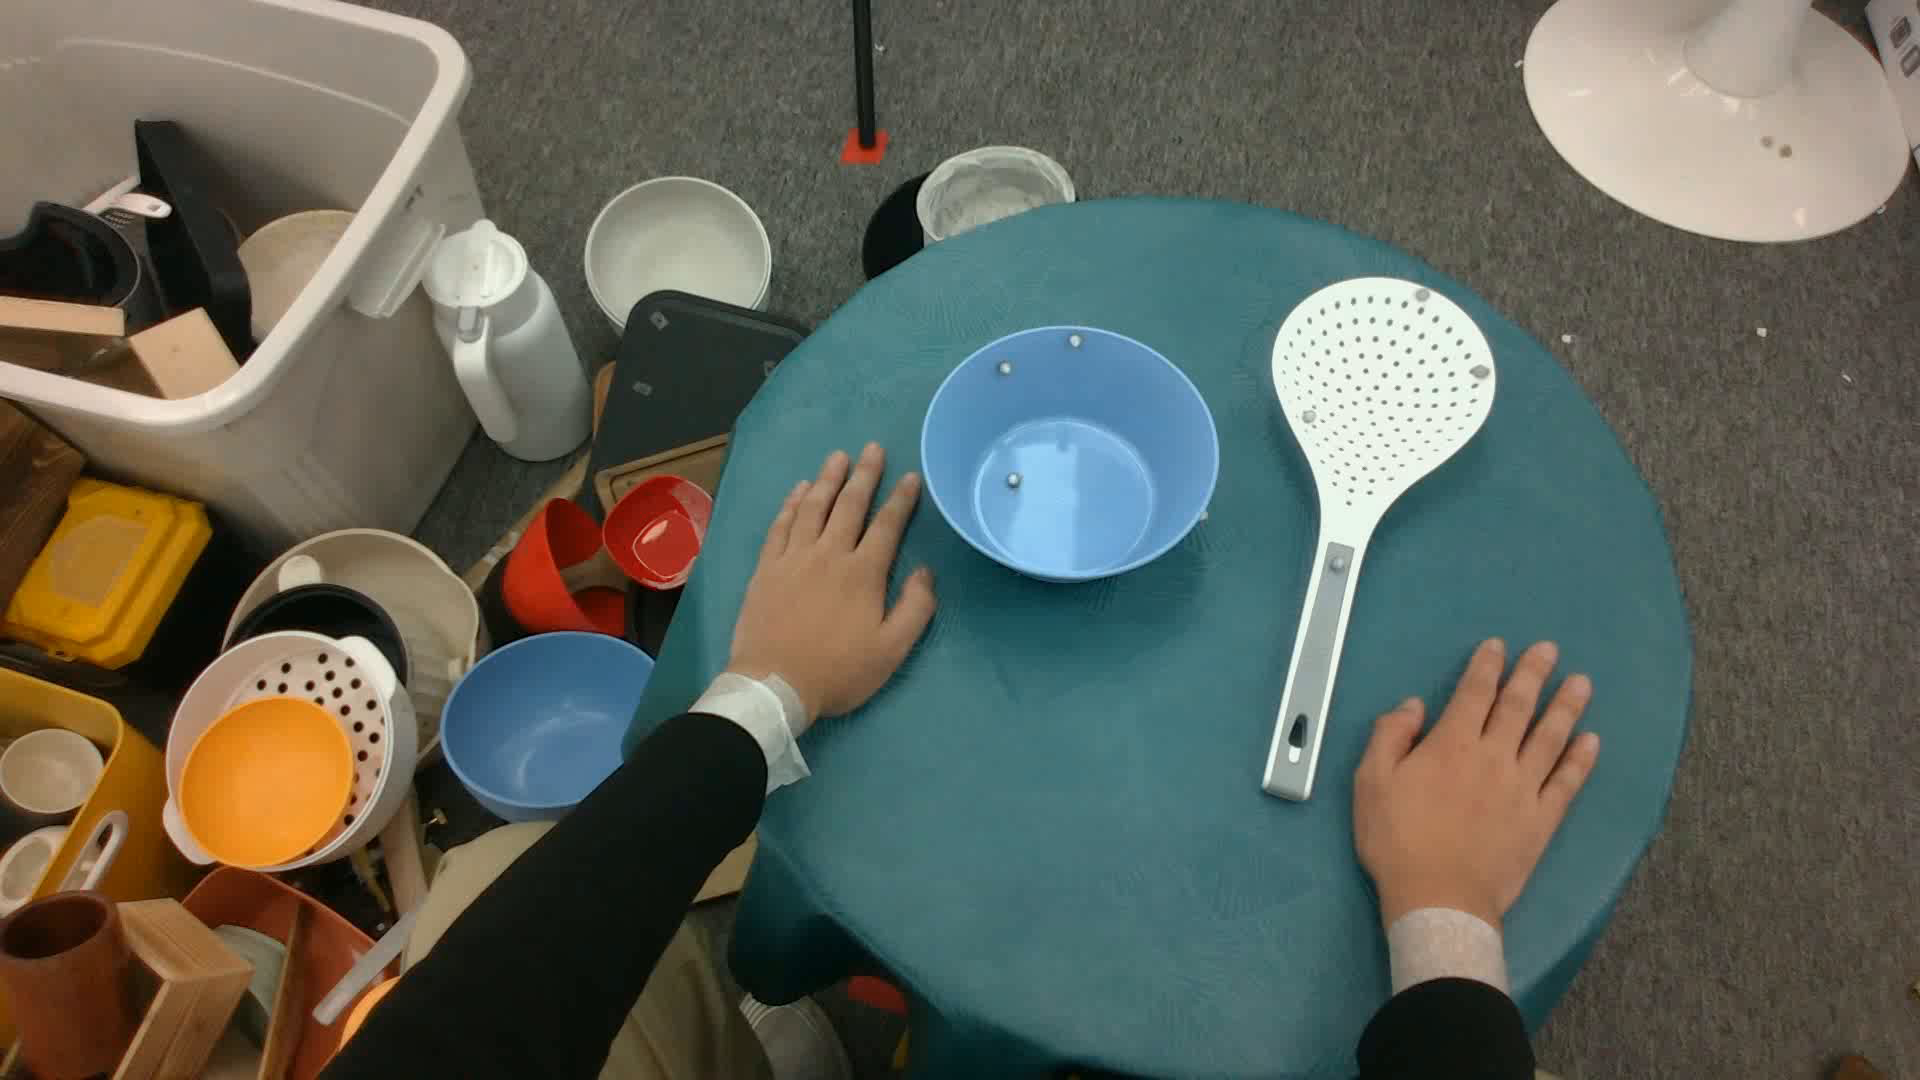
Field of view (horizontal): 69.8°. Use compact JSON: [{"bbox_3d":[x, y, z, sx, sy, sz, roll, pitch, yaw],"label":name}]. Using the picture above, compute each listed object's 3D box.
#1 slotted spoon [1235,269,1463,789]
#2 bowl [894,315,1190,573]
[{"bbox_3d":[0.220,-0.016,0.840,0.136,0.045,0.351,16,63,7],"label":"slotted spoon"},{"bbox_3d":[0.048,-0.047,0.838,0.176,0.070,0.177,1,63,-1],"label":"bowl"}]
